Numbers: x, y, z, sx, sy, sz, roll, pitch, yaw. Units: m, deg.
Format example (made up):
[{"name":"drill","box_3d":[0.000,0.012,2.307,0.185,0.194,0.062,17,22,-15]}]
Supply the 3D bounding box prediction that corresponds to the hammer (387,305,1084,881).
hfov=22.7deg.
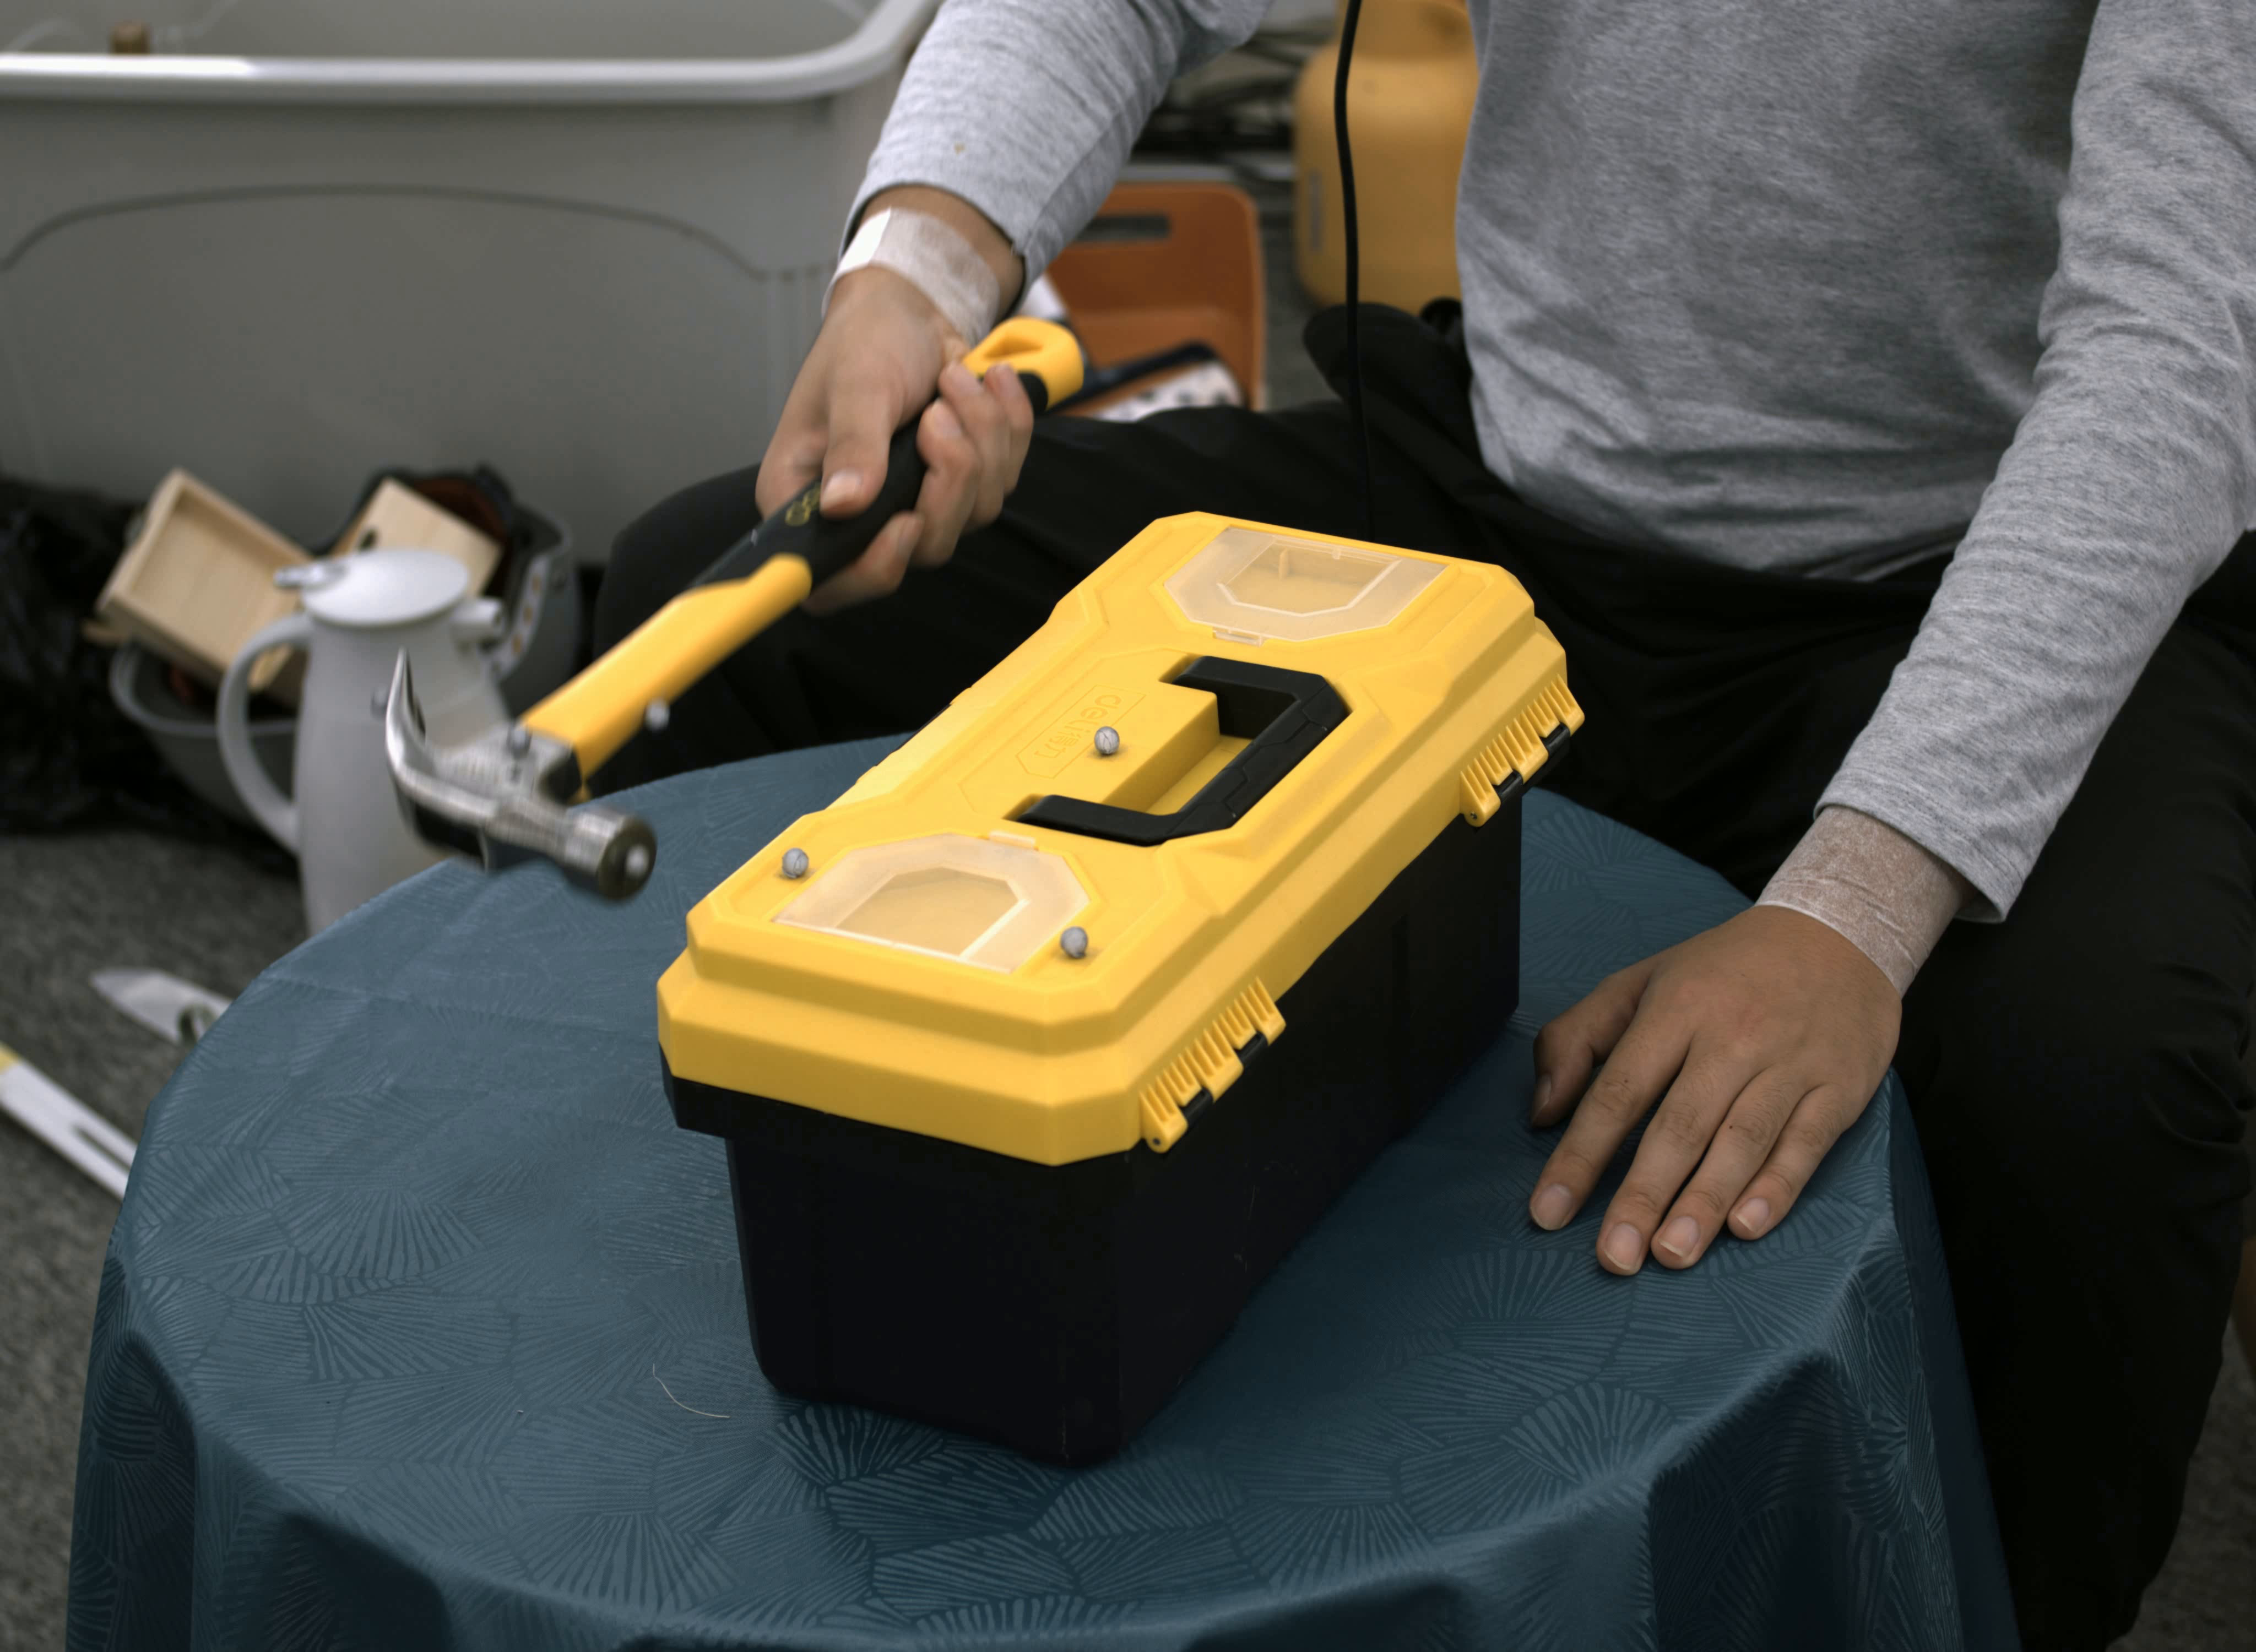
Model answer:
[{"name":"hammer","box_3d":[-0.124,-0.093,1.933,0.131,0.032,0.344,17,41,31]}]

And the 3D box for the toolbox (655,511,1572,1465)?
[{"name":"toolbox","box_3d":[0.004,0.045,1.826,0.180,0.171,0.357,11,30,26]}]
